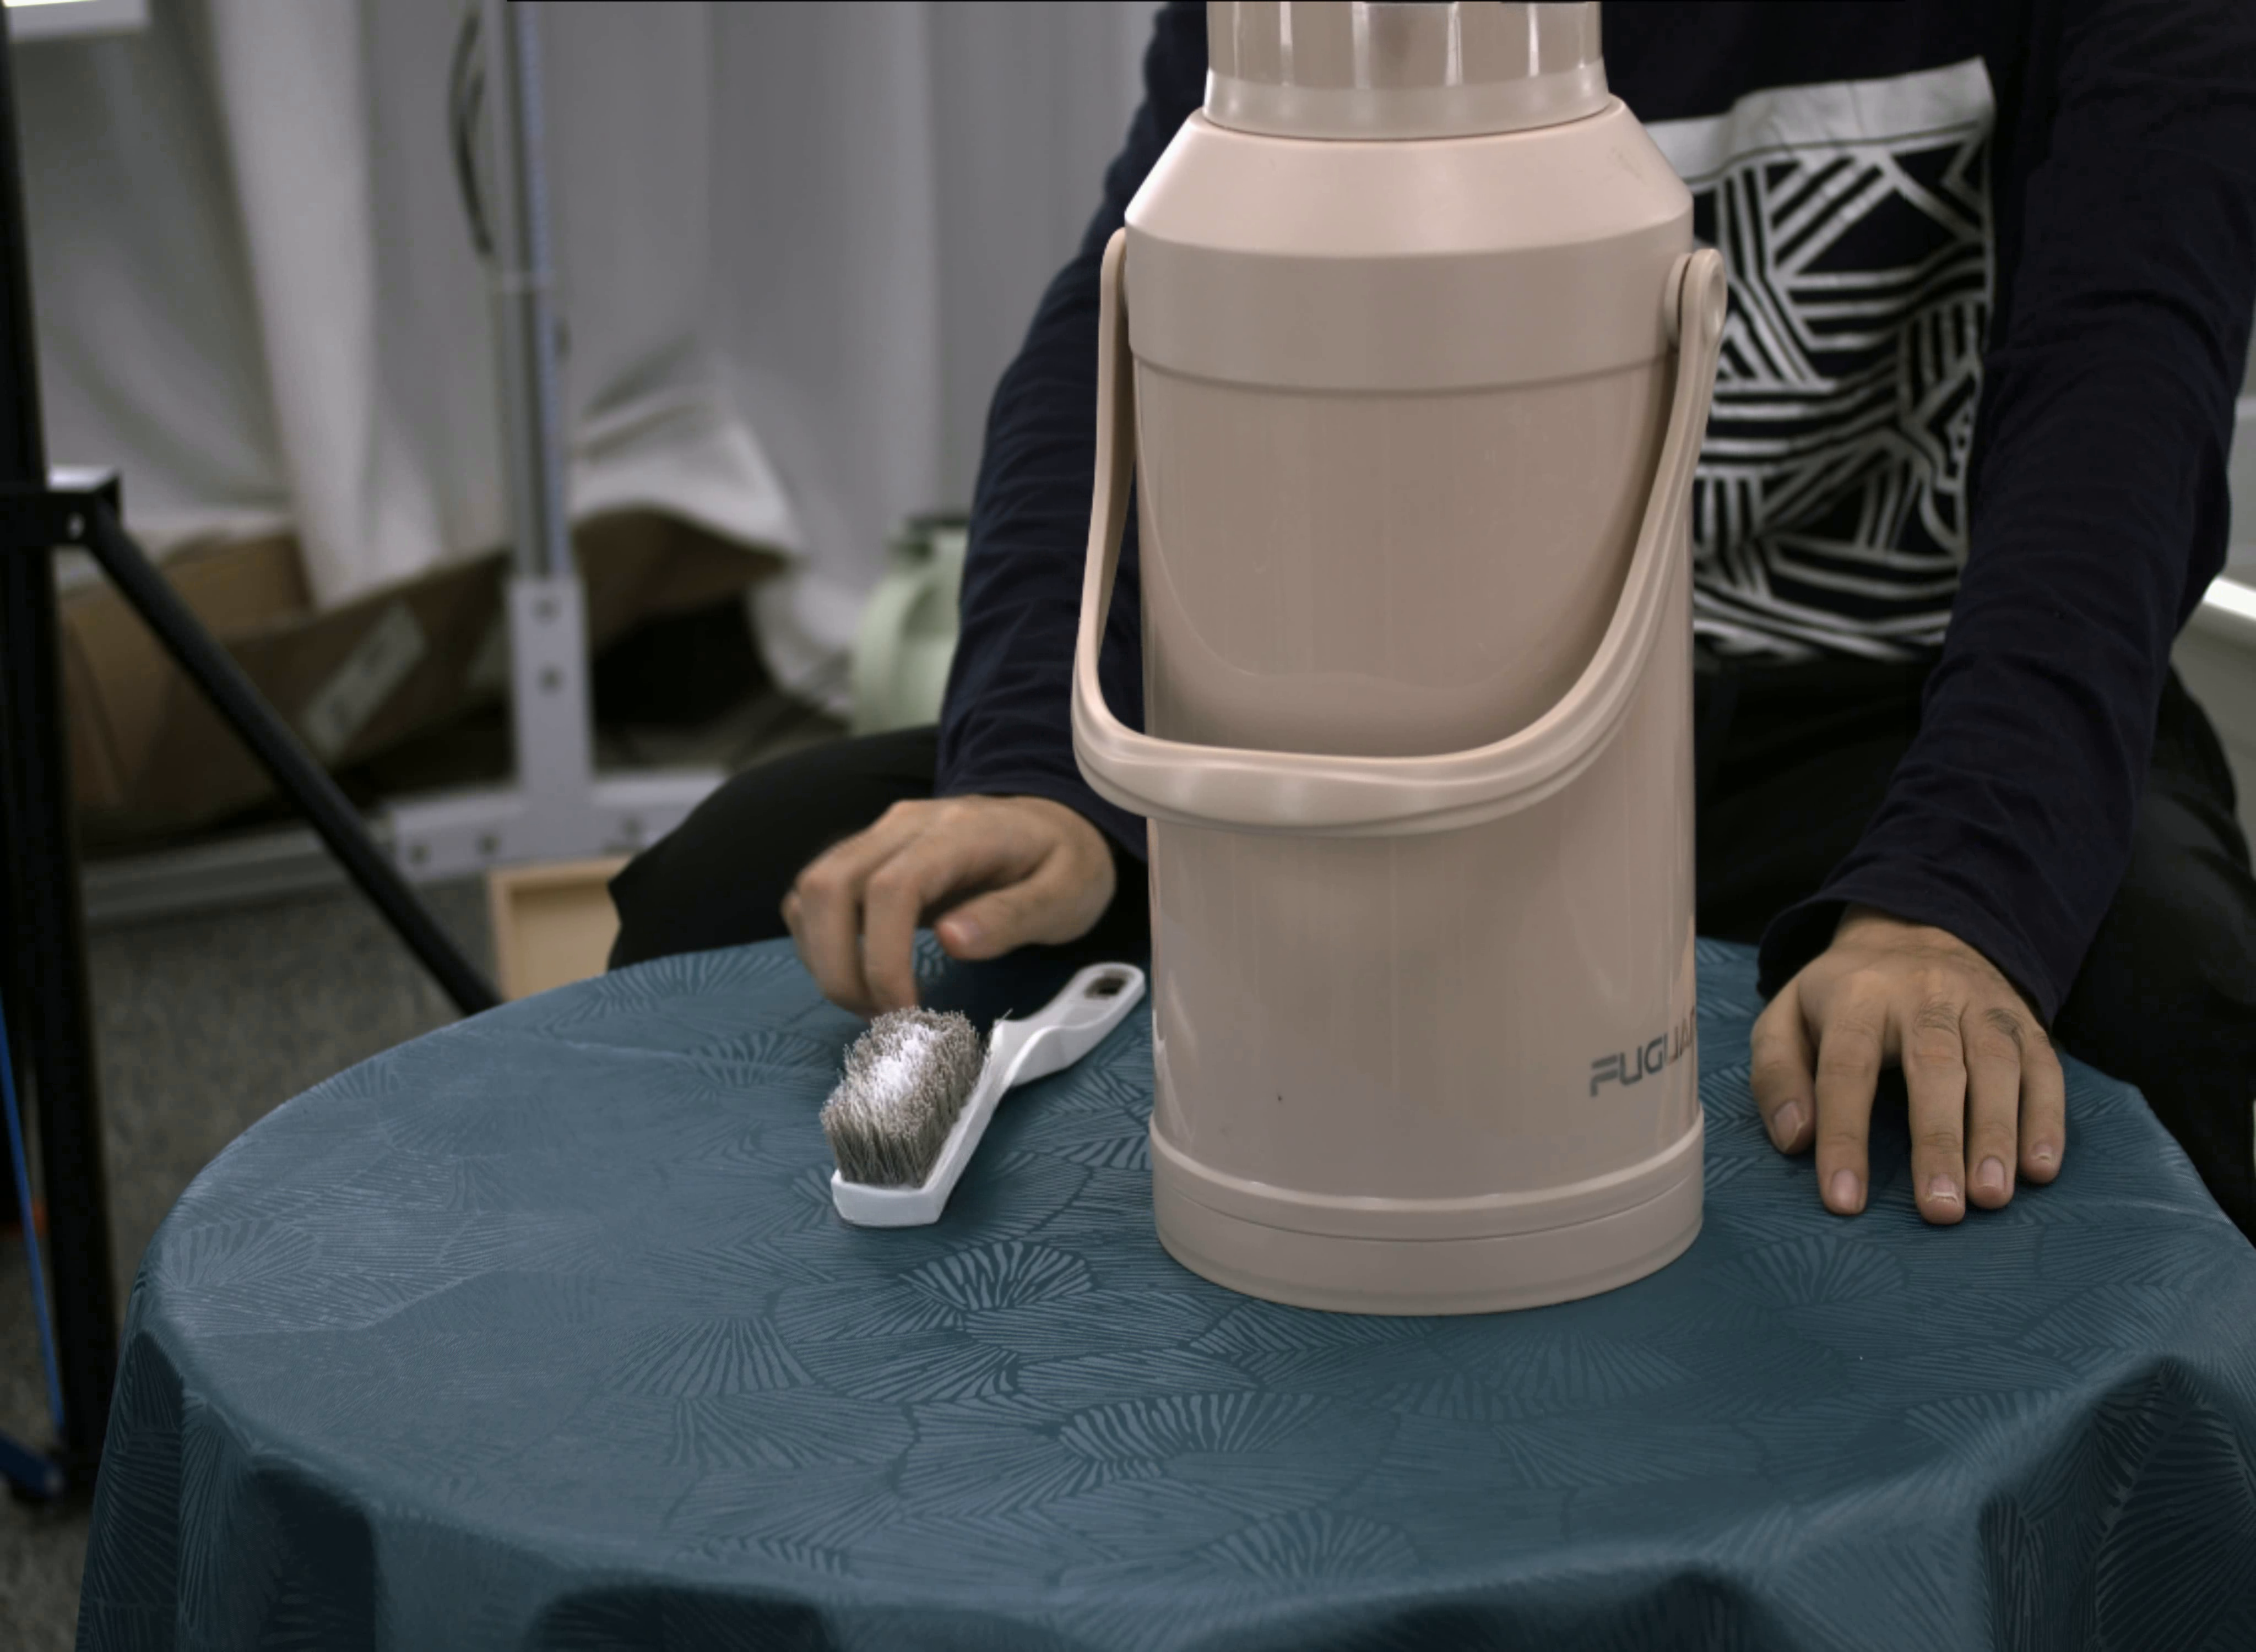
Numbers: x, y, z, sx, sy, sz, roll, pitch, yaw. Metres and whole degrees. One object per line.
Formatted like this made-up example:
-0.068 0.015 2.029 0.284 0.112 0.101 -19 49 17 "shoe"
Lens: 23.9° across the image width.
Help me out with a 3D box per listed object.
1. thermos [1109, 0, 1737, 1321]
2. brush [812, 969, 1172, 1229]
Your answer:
0.089 -0.080 1.486 0.177 0.406 0.204 2 15 22 "thermos"
-0.037 0.064 1.635 0.035 0.050 0.240 0 16 21 "brush"
